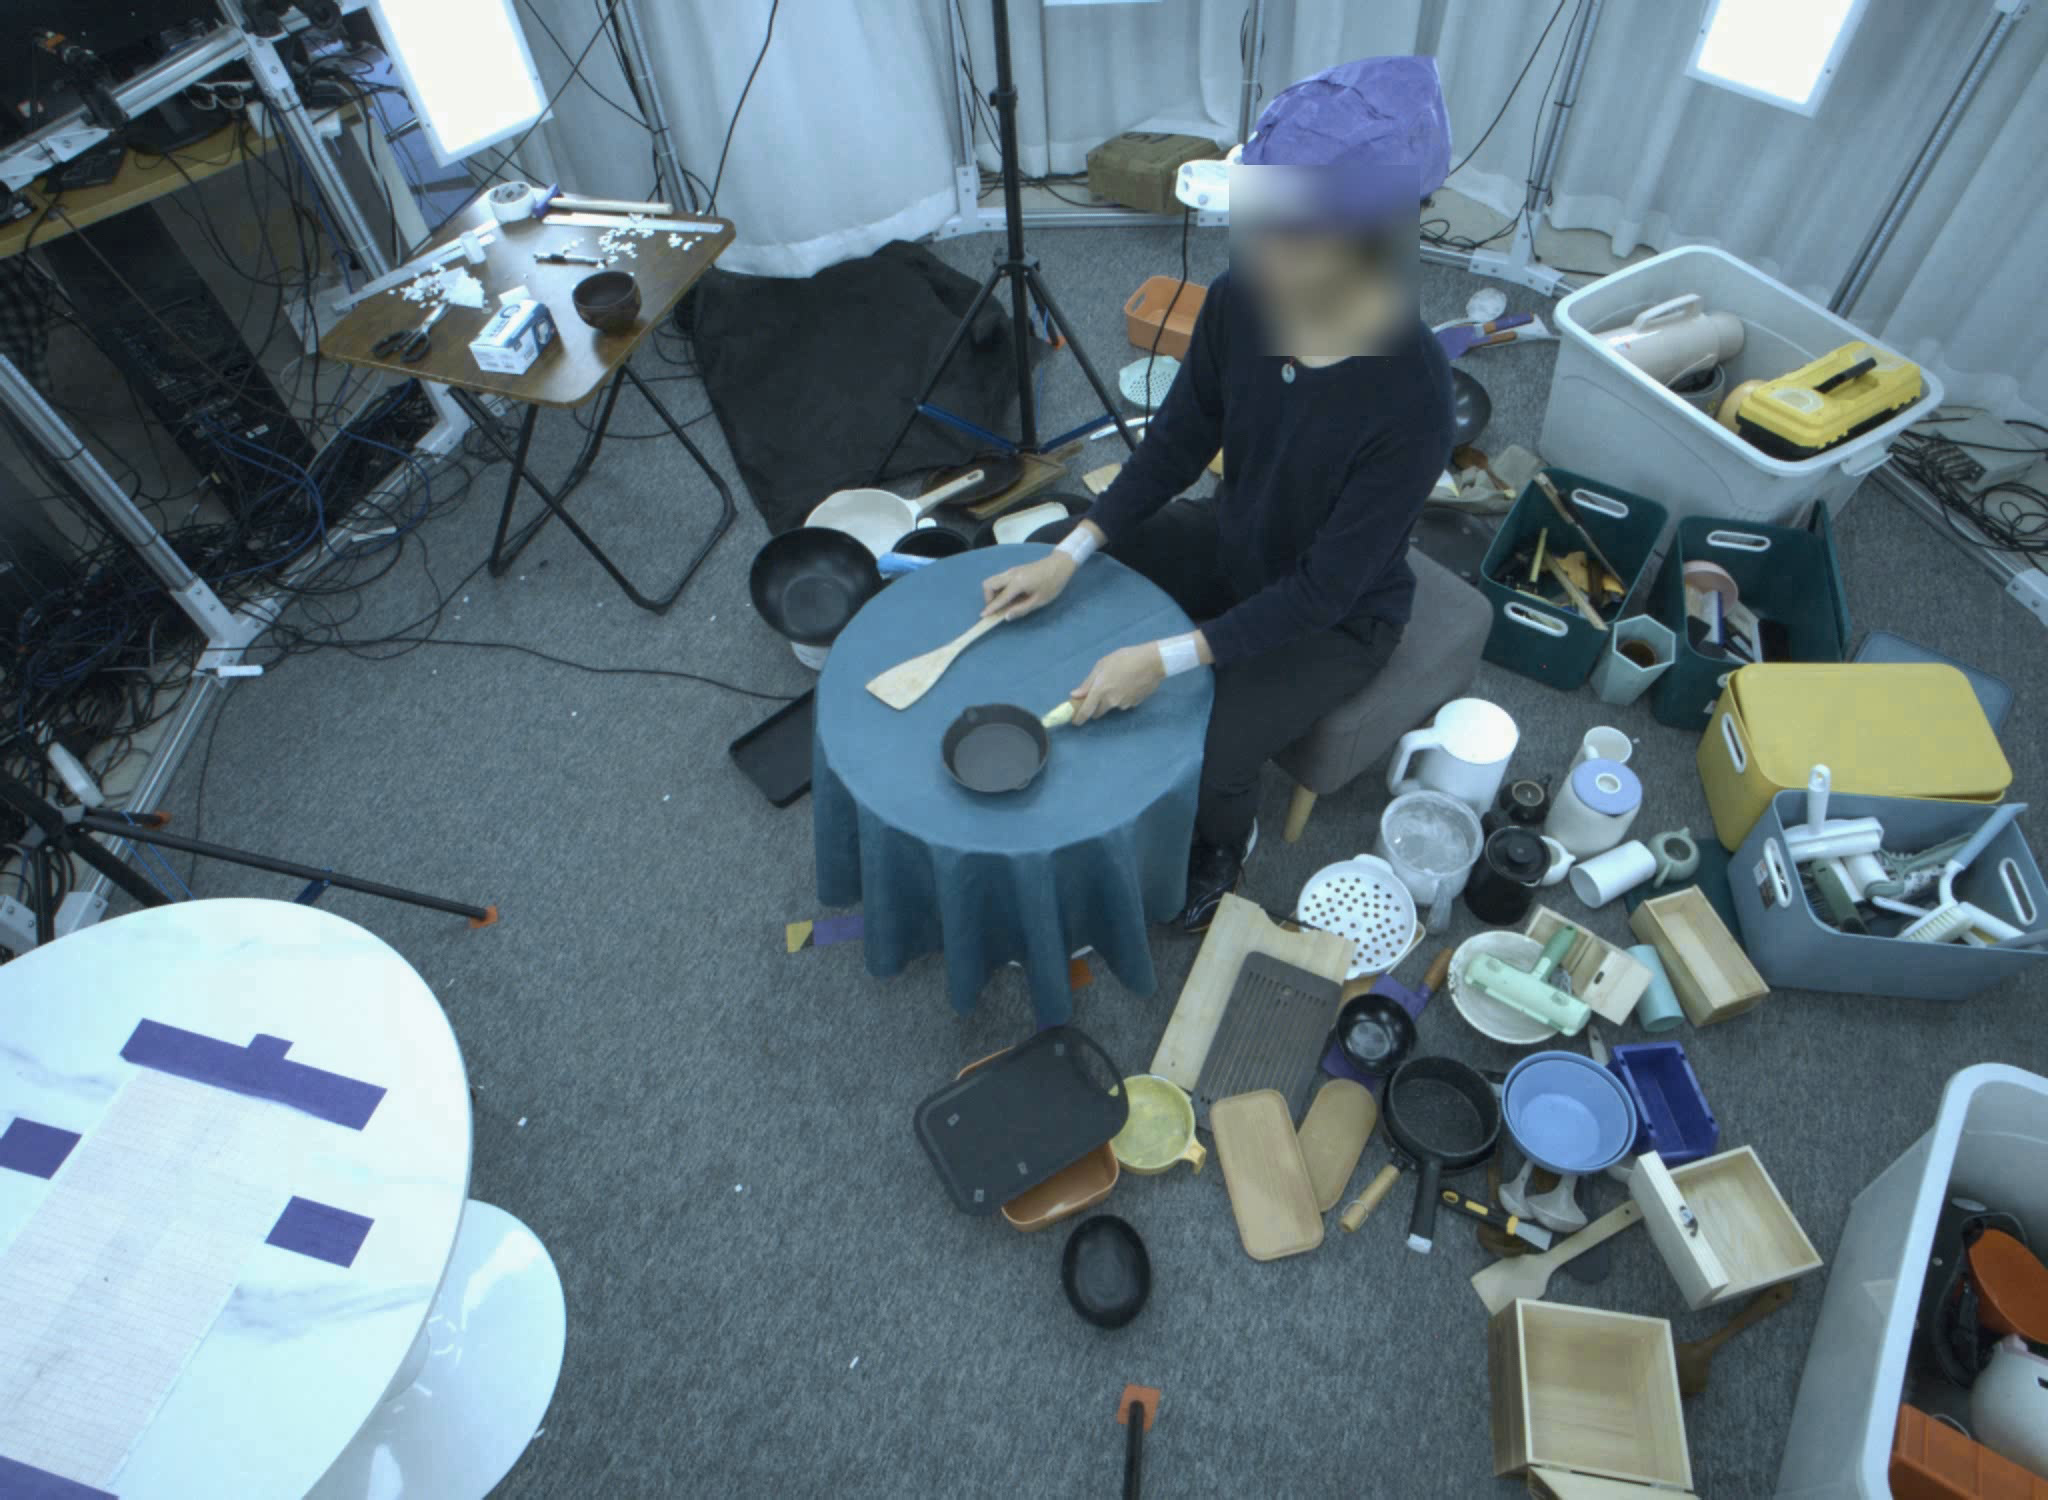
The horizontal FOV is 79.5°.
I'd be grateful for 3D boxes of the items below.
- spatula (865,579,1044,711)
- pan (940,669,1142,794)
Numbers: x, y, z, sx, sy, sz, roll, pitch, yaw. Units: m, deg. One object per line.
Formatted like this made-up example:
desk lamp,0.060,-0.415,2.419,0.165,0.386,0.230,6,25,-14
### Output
spatula,-0.096,-0.169,1.889,0.329,0.017,0.078,-39,63,-15
pan,0.033,-0.037,1.781,0.326,0.050,0.166,-26,58,-13
